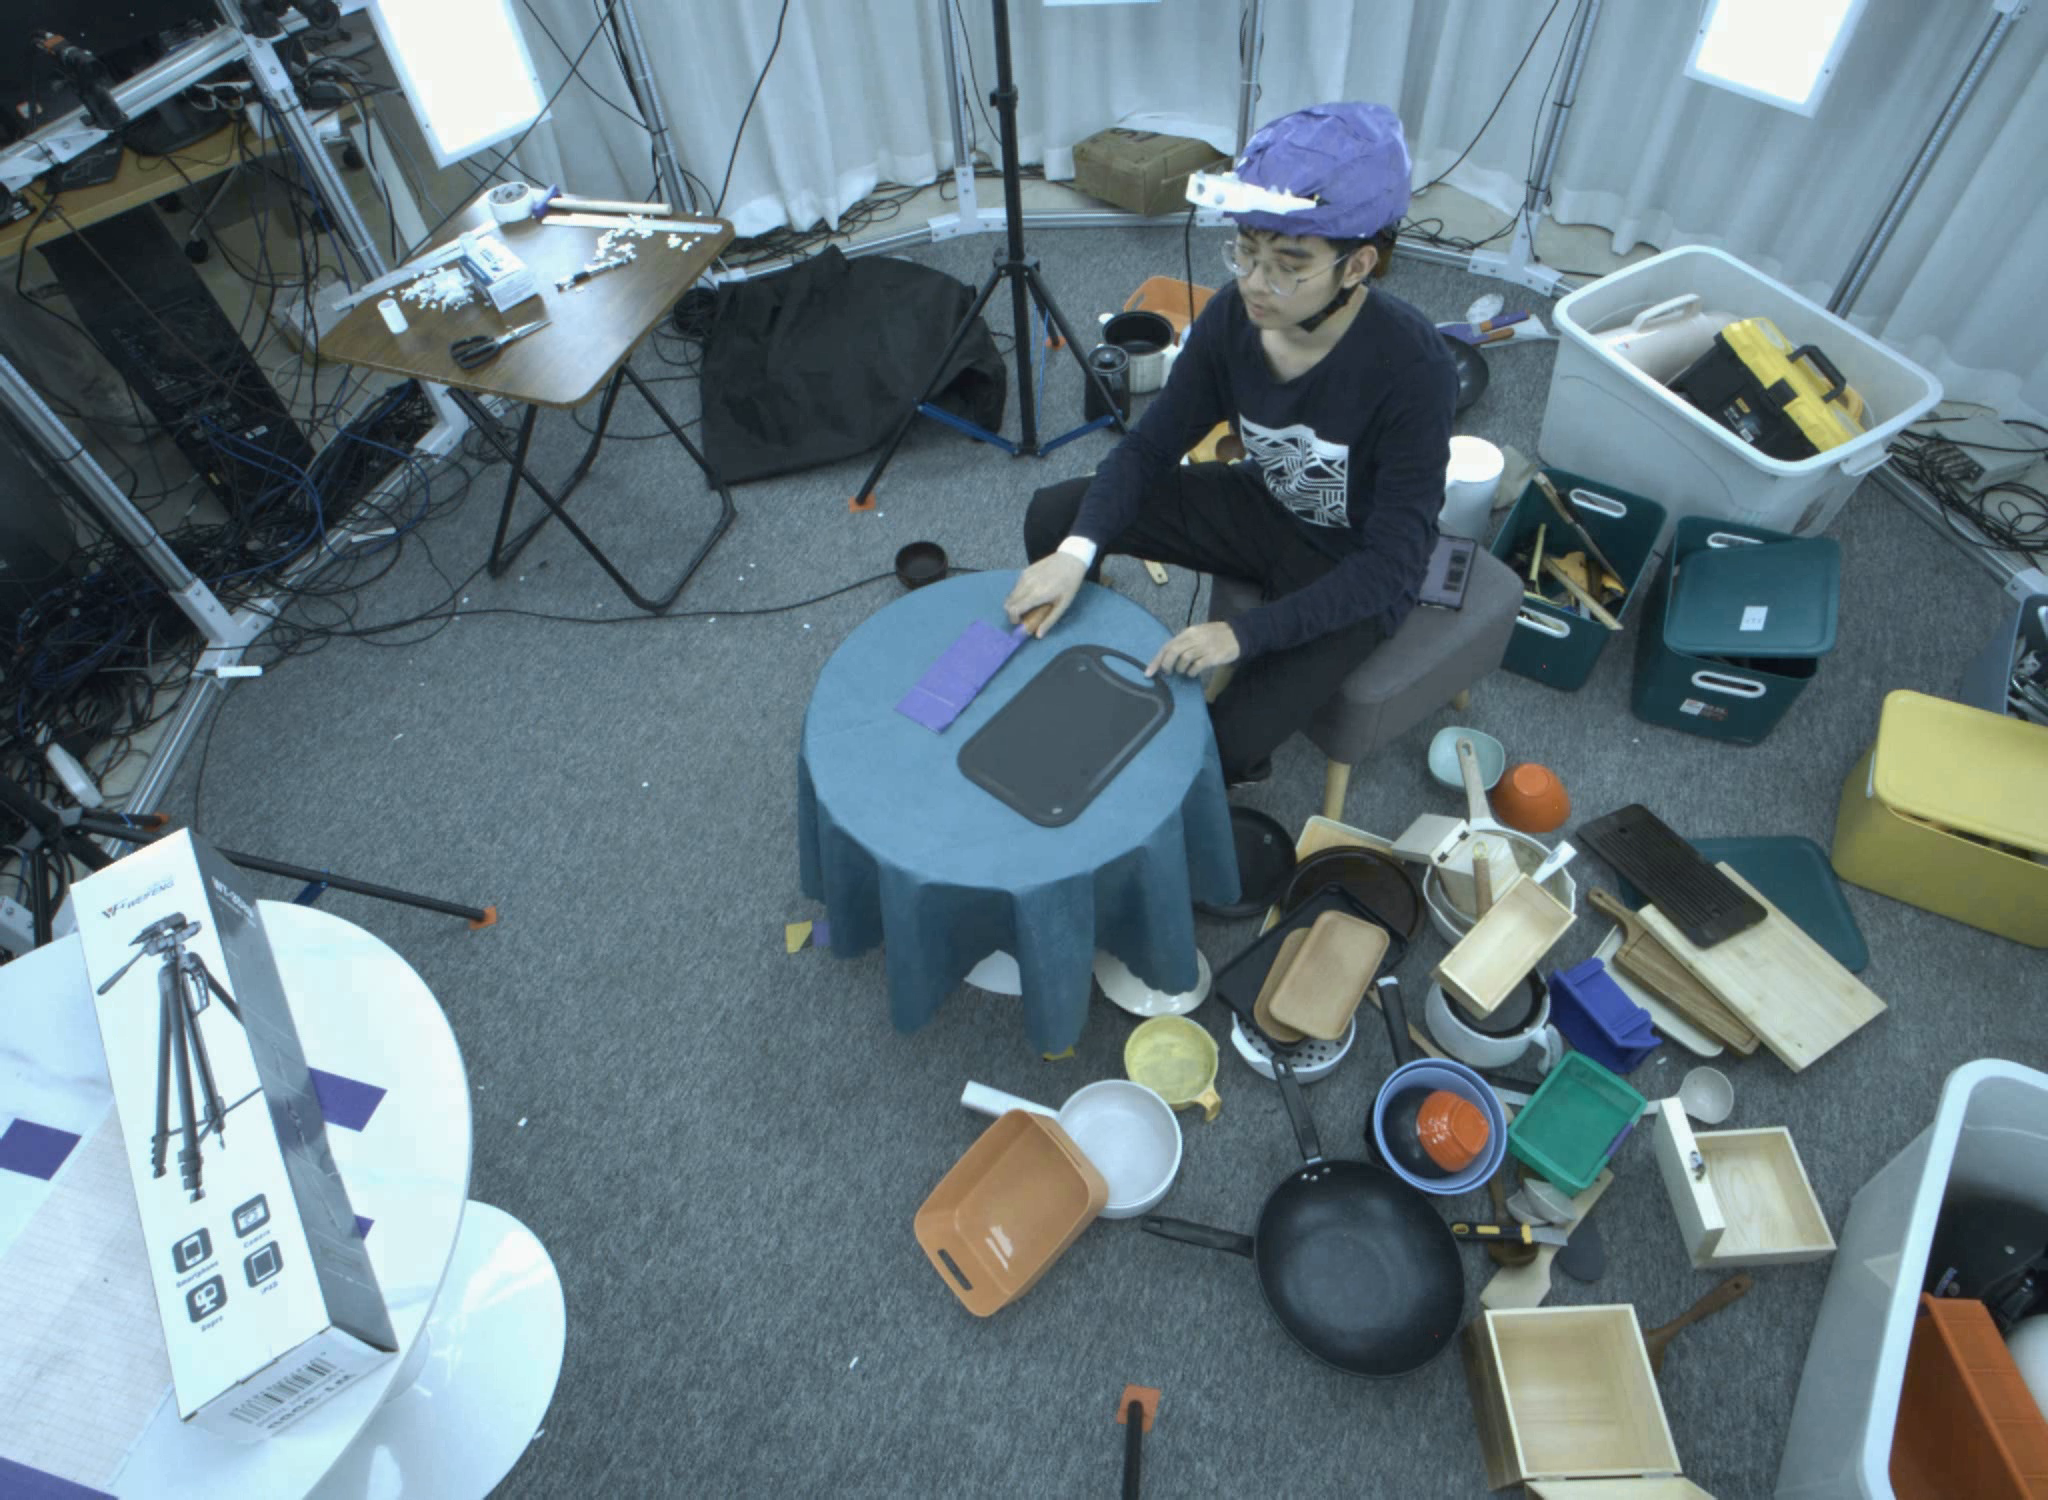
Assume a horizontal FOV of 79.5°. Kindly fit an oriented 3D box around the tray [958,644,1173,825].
[{"bbox_3d":[0.067,-0.036,1.815,0.207,0.010,0.327,34,62,23],"label":"tray"}]

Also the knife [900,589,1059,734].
[{"bbox_3d":[-0.069,-0.153,1.890,0.102,0.032,0.316,29,60,21],"label":"knife"}]
